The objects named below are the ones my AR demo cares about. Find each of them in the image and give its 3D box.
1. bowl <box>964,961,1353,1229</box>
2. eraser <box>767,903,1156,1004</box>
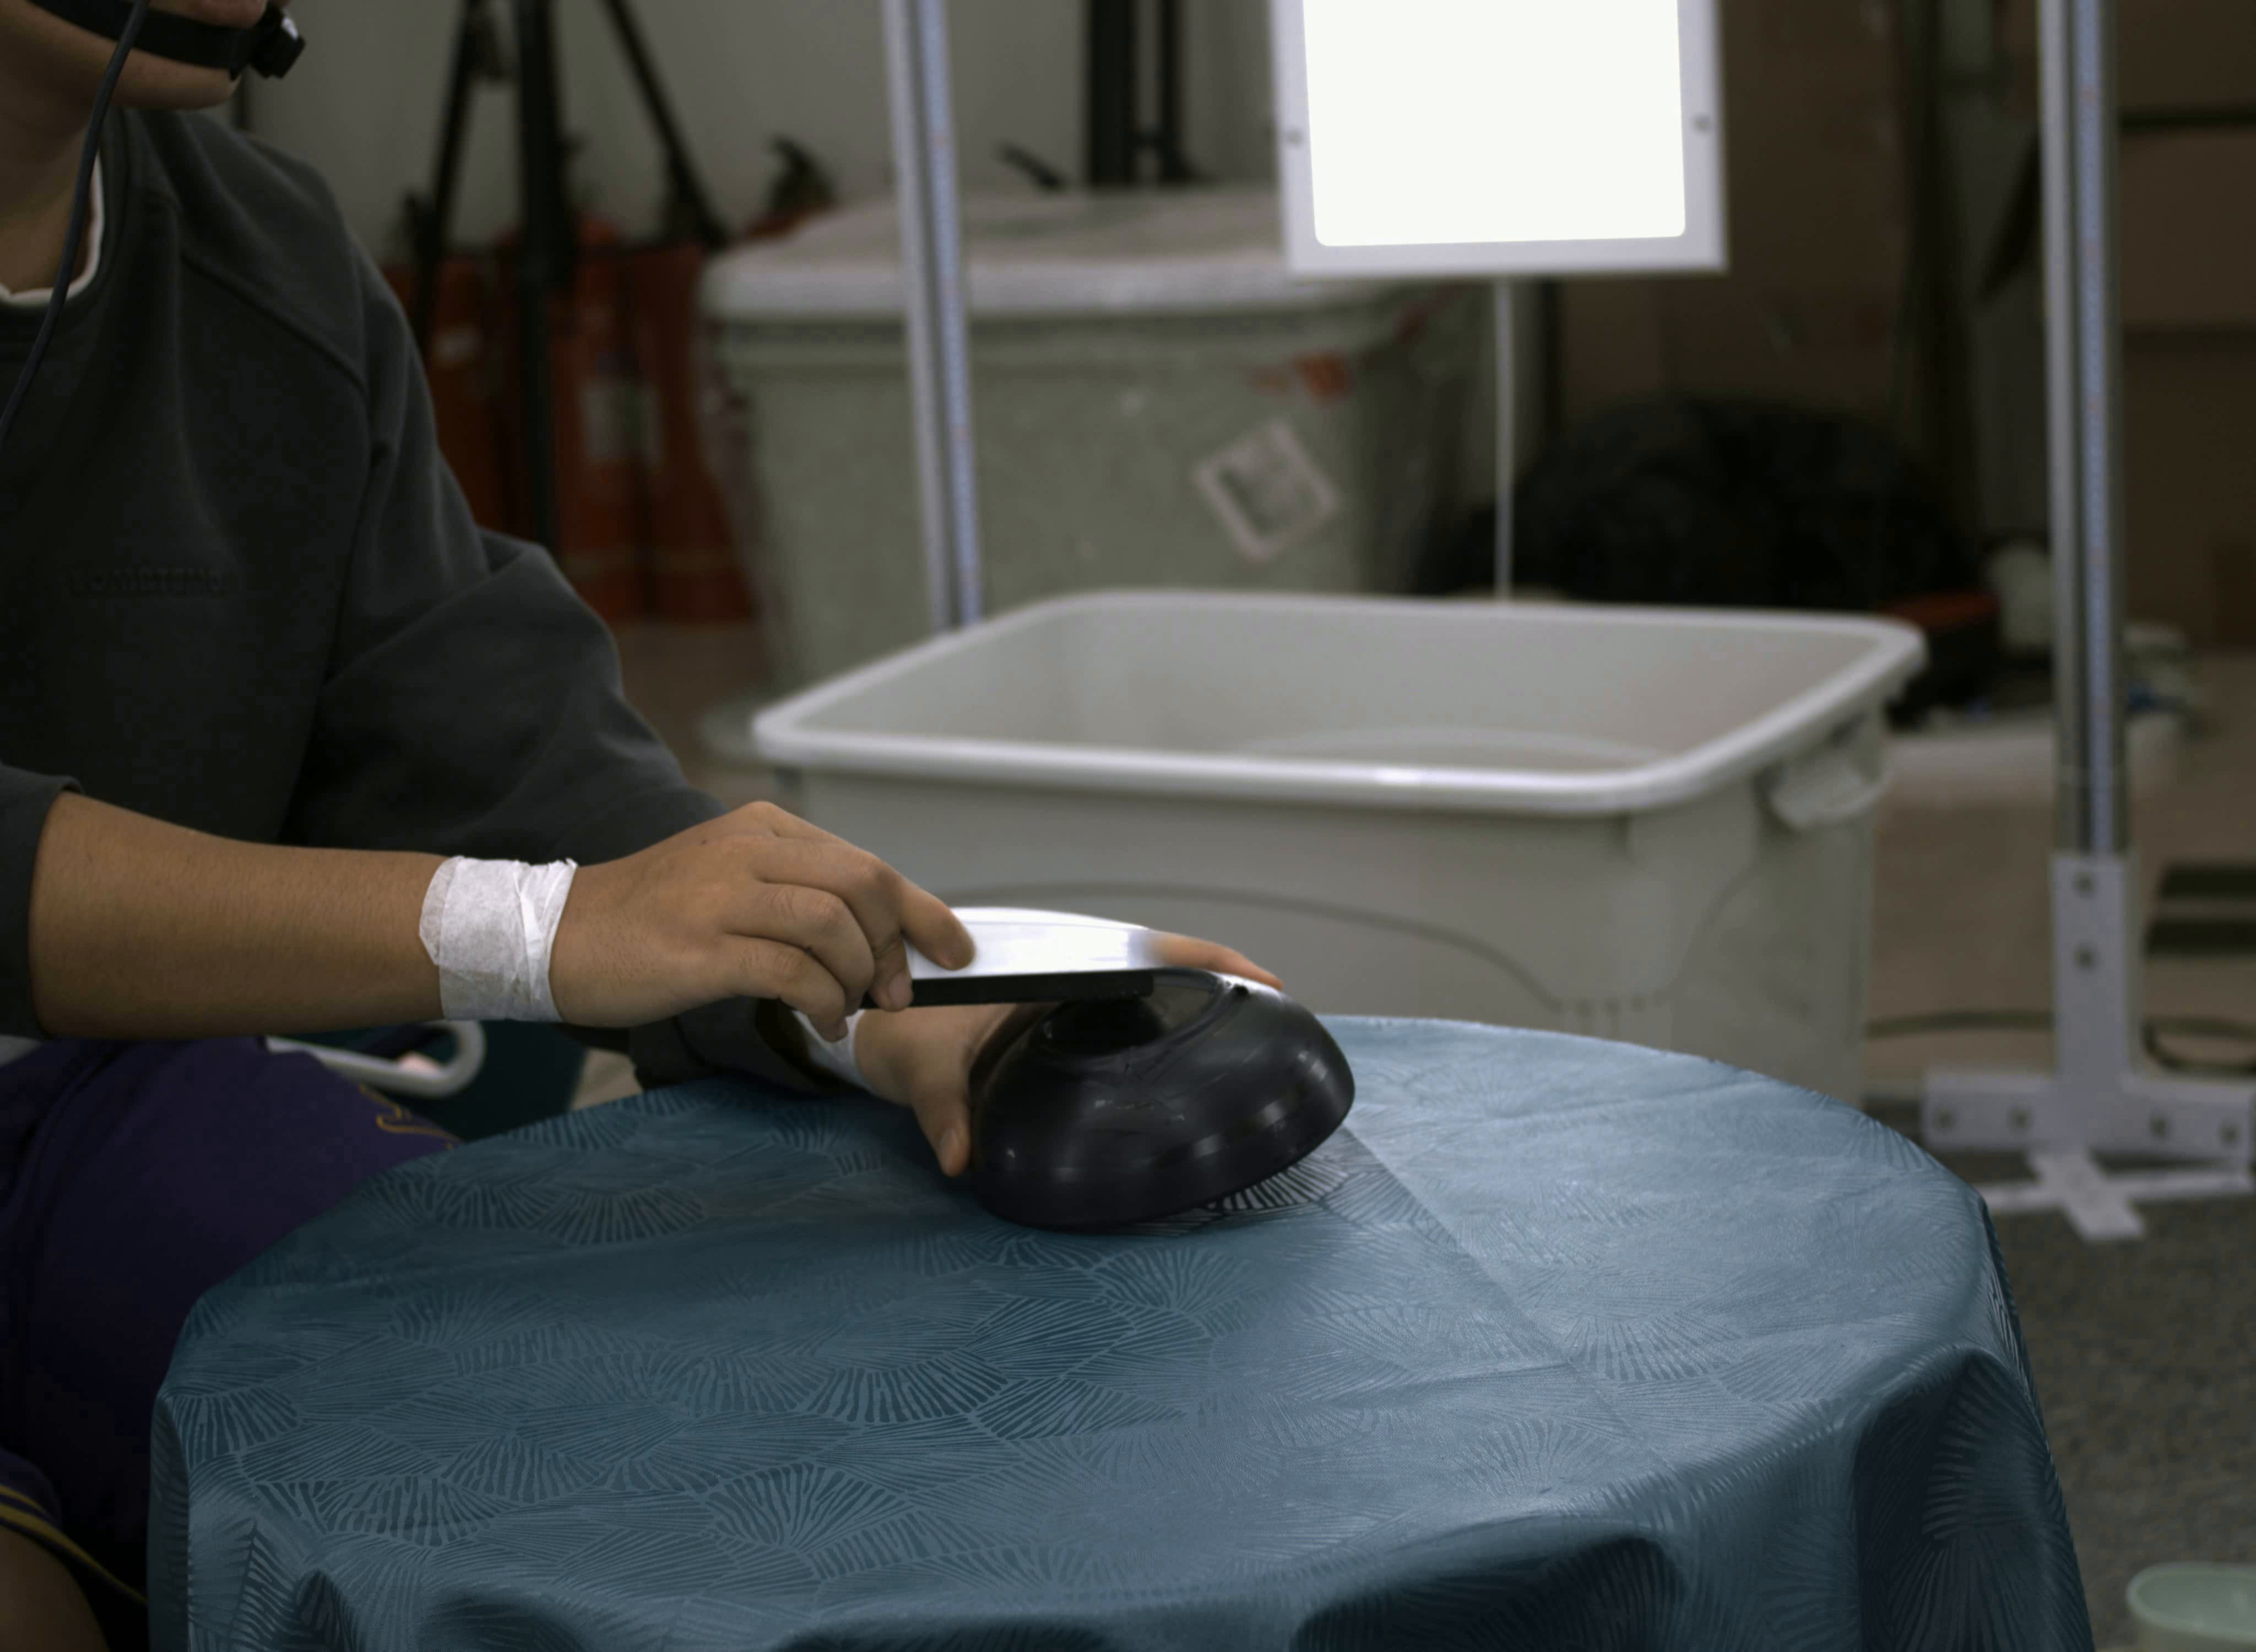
[{"bbox_3d":[0.005,0.084,1.899,0.140,0.050,0.140,-15,22,5],"label":"bowl"},{"bbox_3d":[-0.057,0.044,1.890,0.130,0.034,0.064,0,0,-7],"label":"eraser"}]
